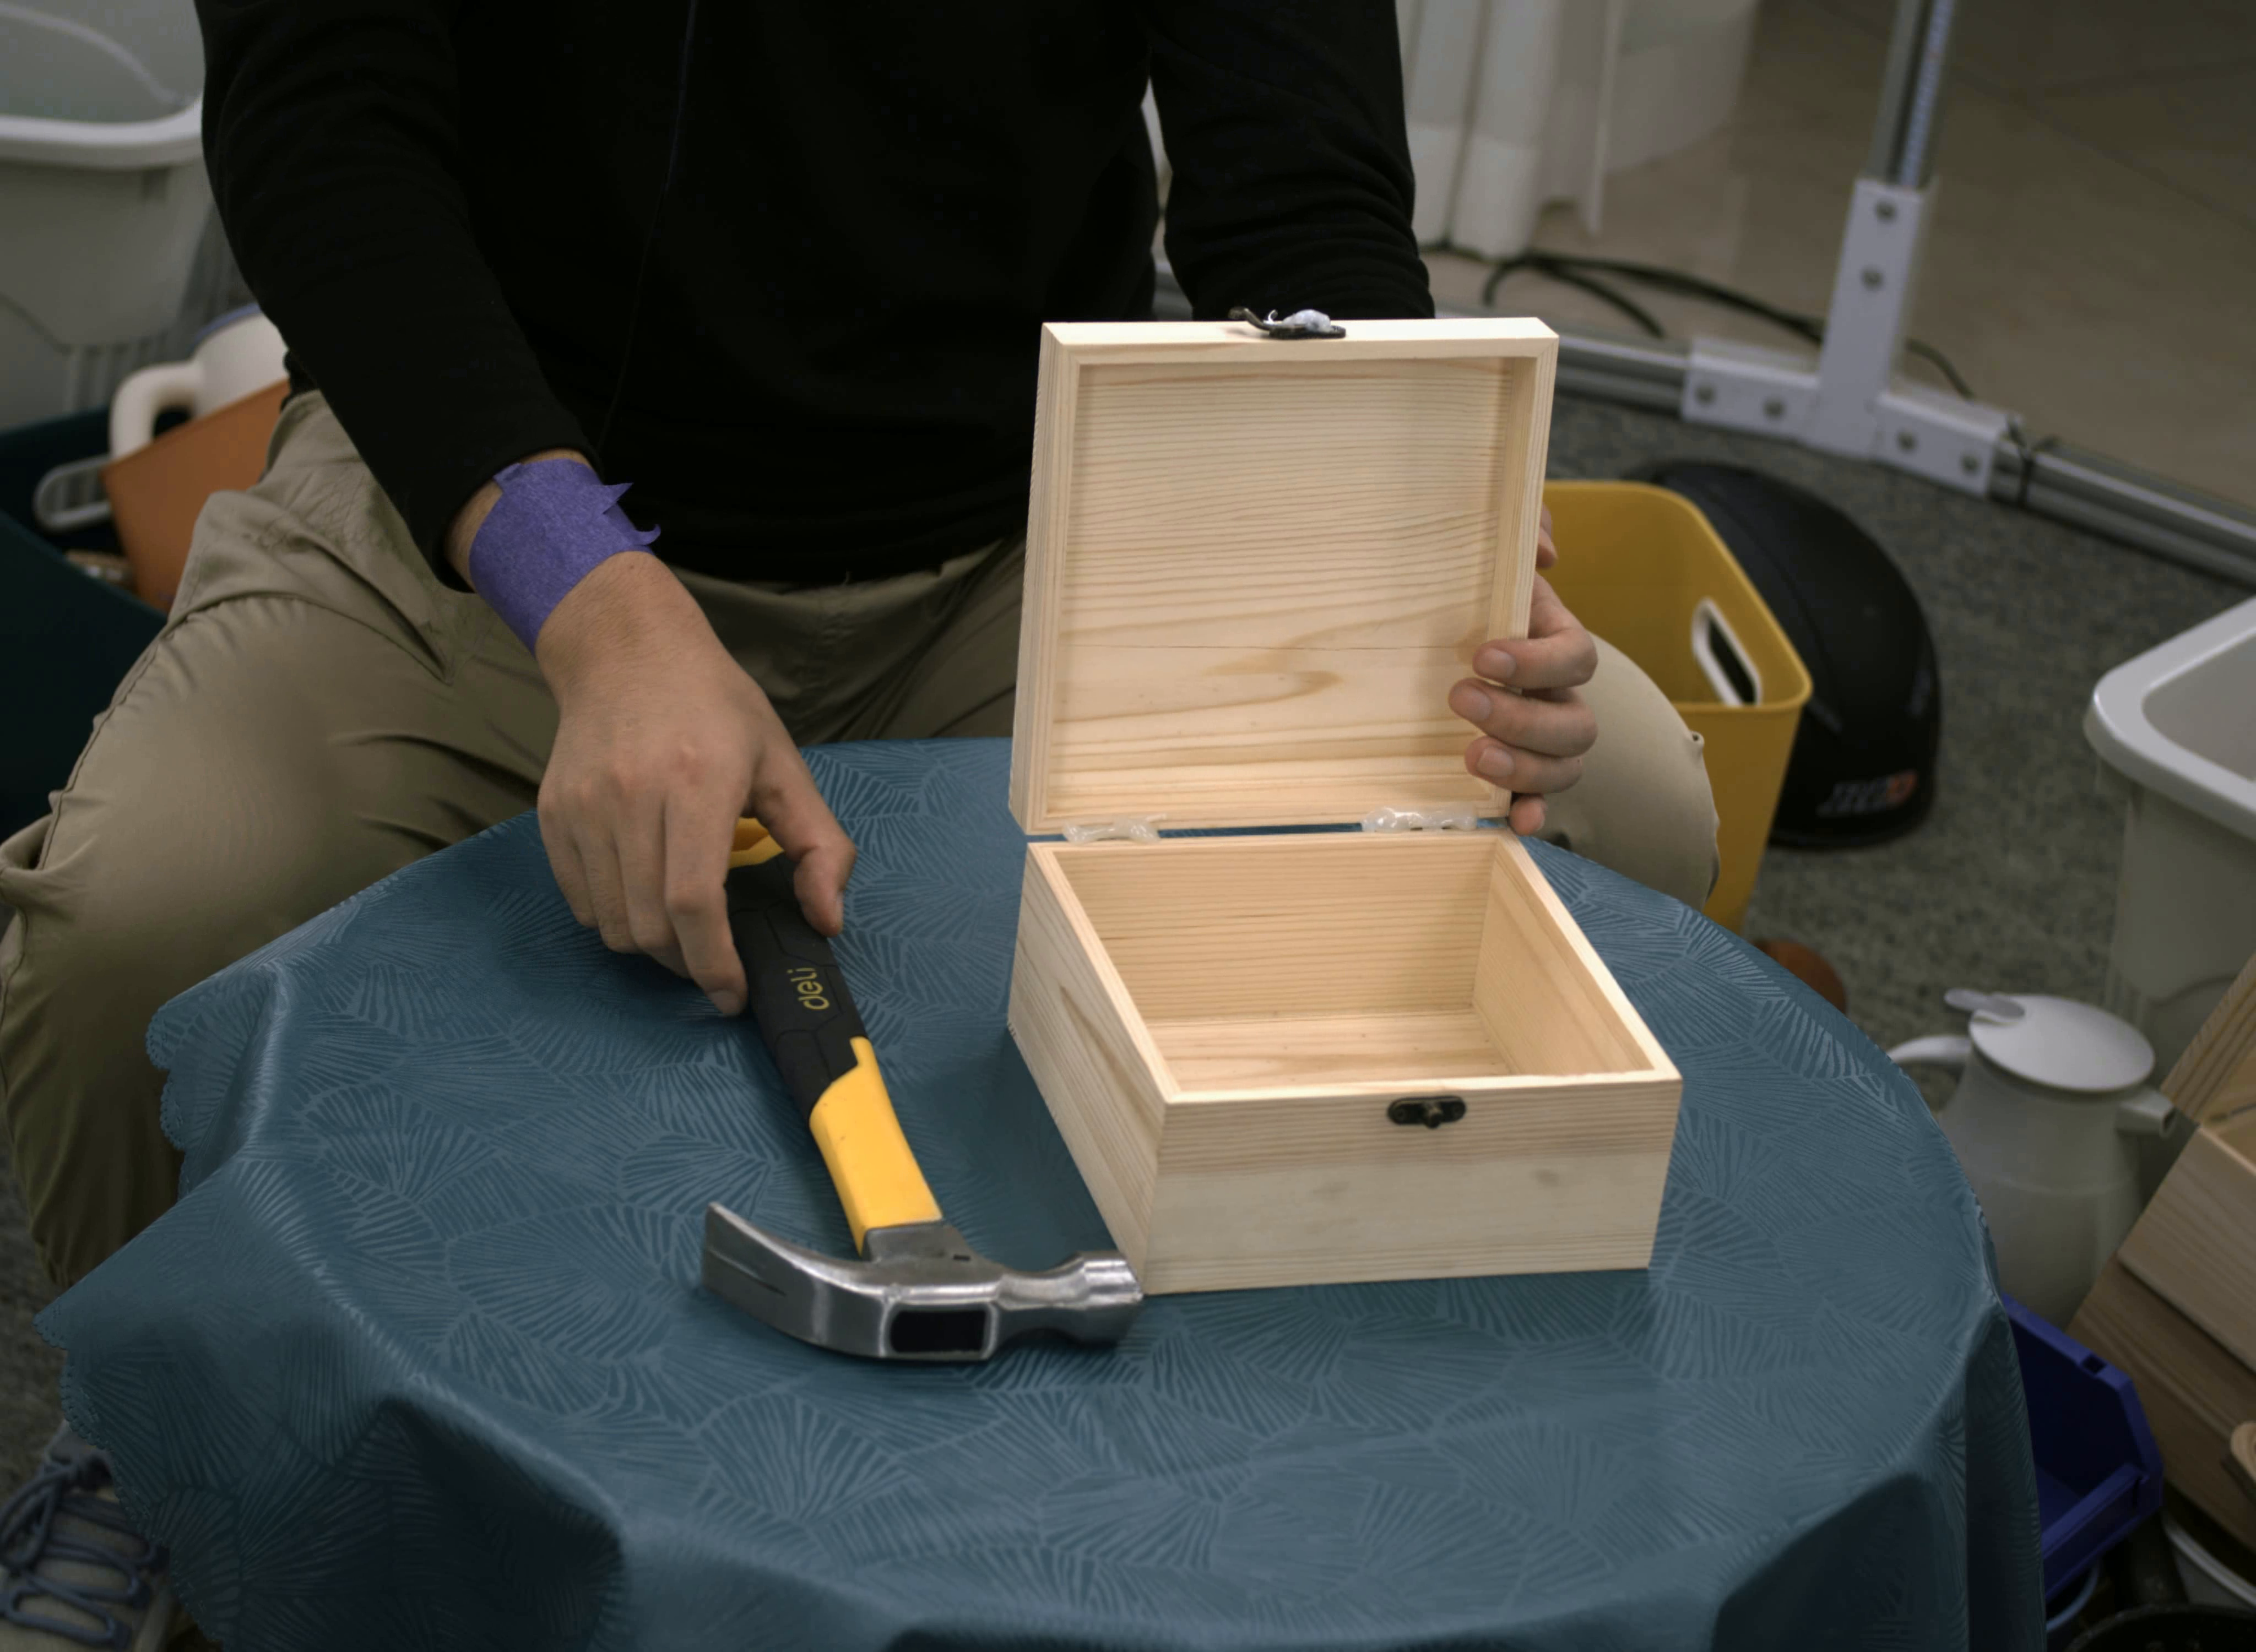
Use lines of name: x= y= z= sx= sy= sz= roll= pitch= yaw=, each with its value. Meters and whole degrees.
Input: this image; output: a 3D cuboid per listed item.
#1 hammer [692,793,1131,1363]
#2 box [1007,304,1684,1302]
hammer: x=-0.102 y=0.078 z=1.830 sx=0.130 sy=0.032 sz=0.341 roll=-1 pitch=29 yaw=-15
box: x=0.070 y=-0.015 z=1.820 sx=0.181 sy=0.252 sz=0.267 roll=-4 pitch=29 yaw=-16
